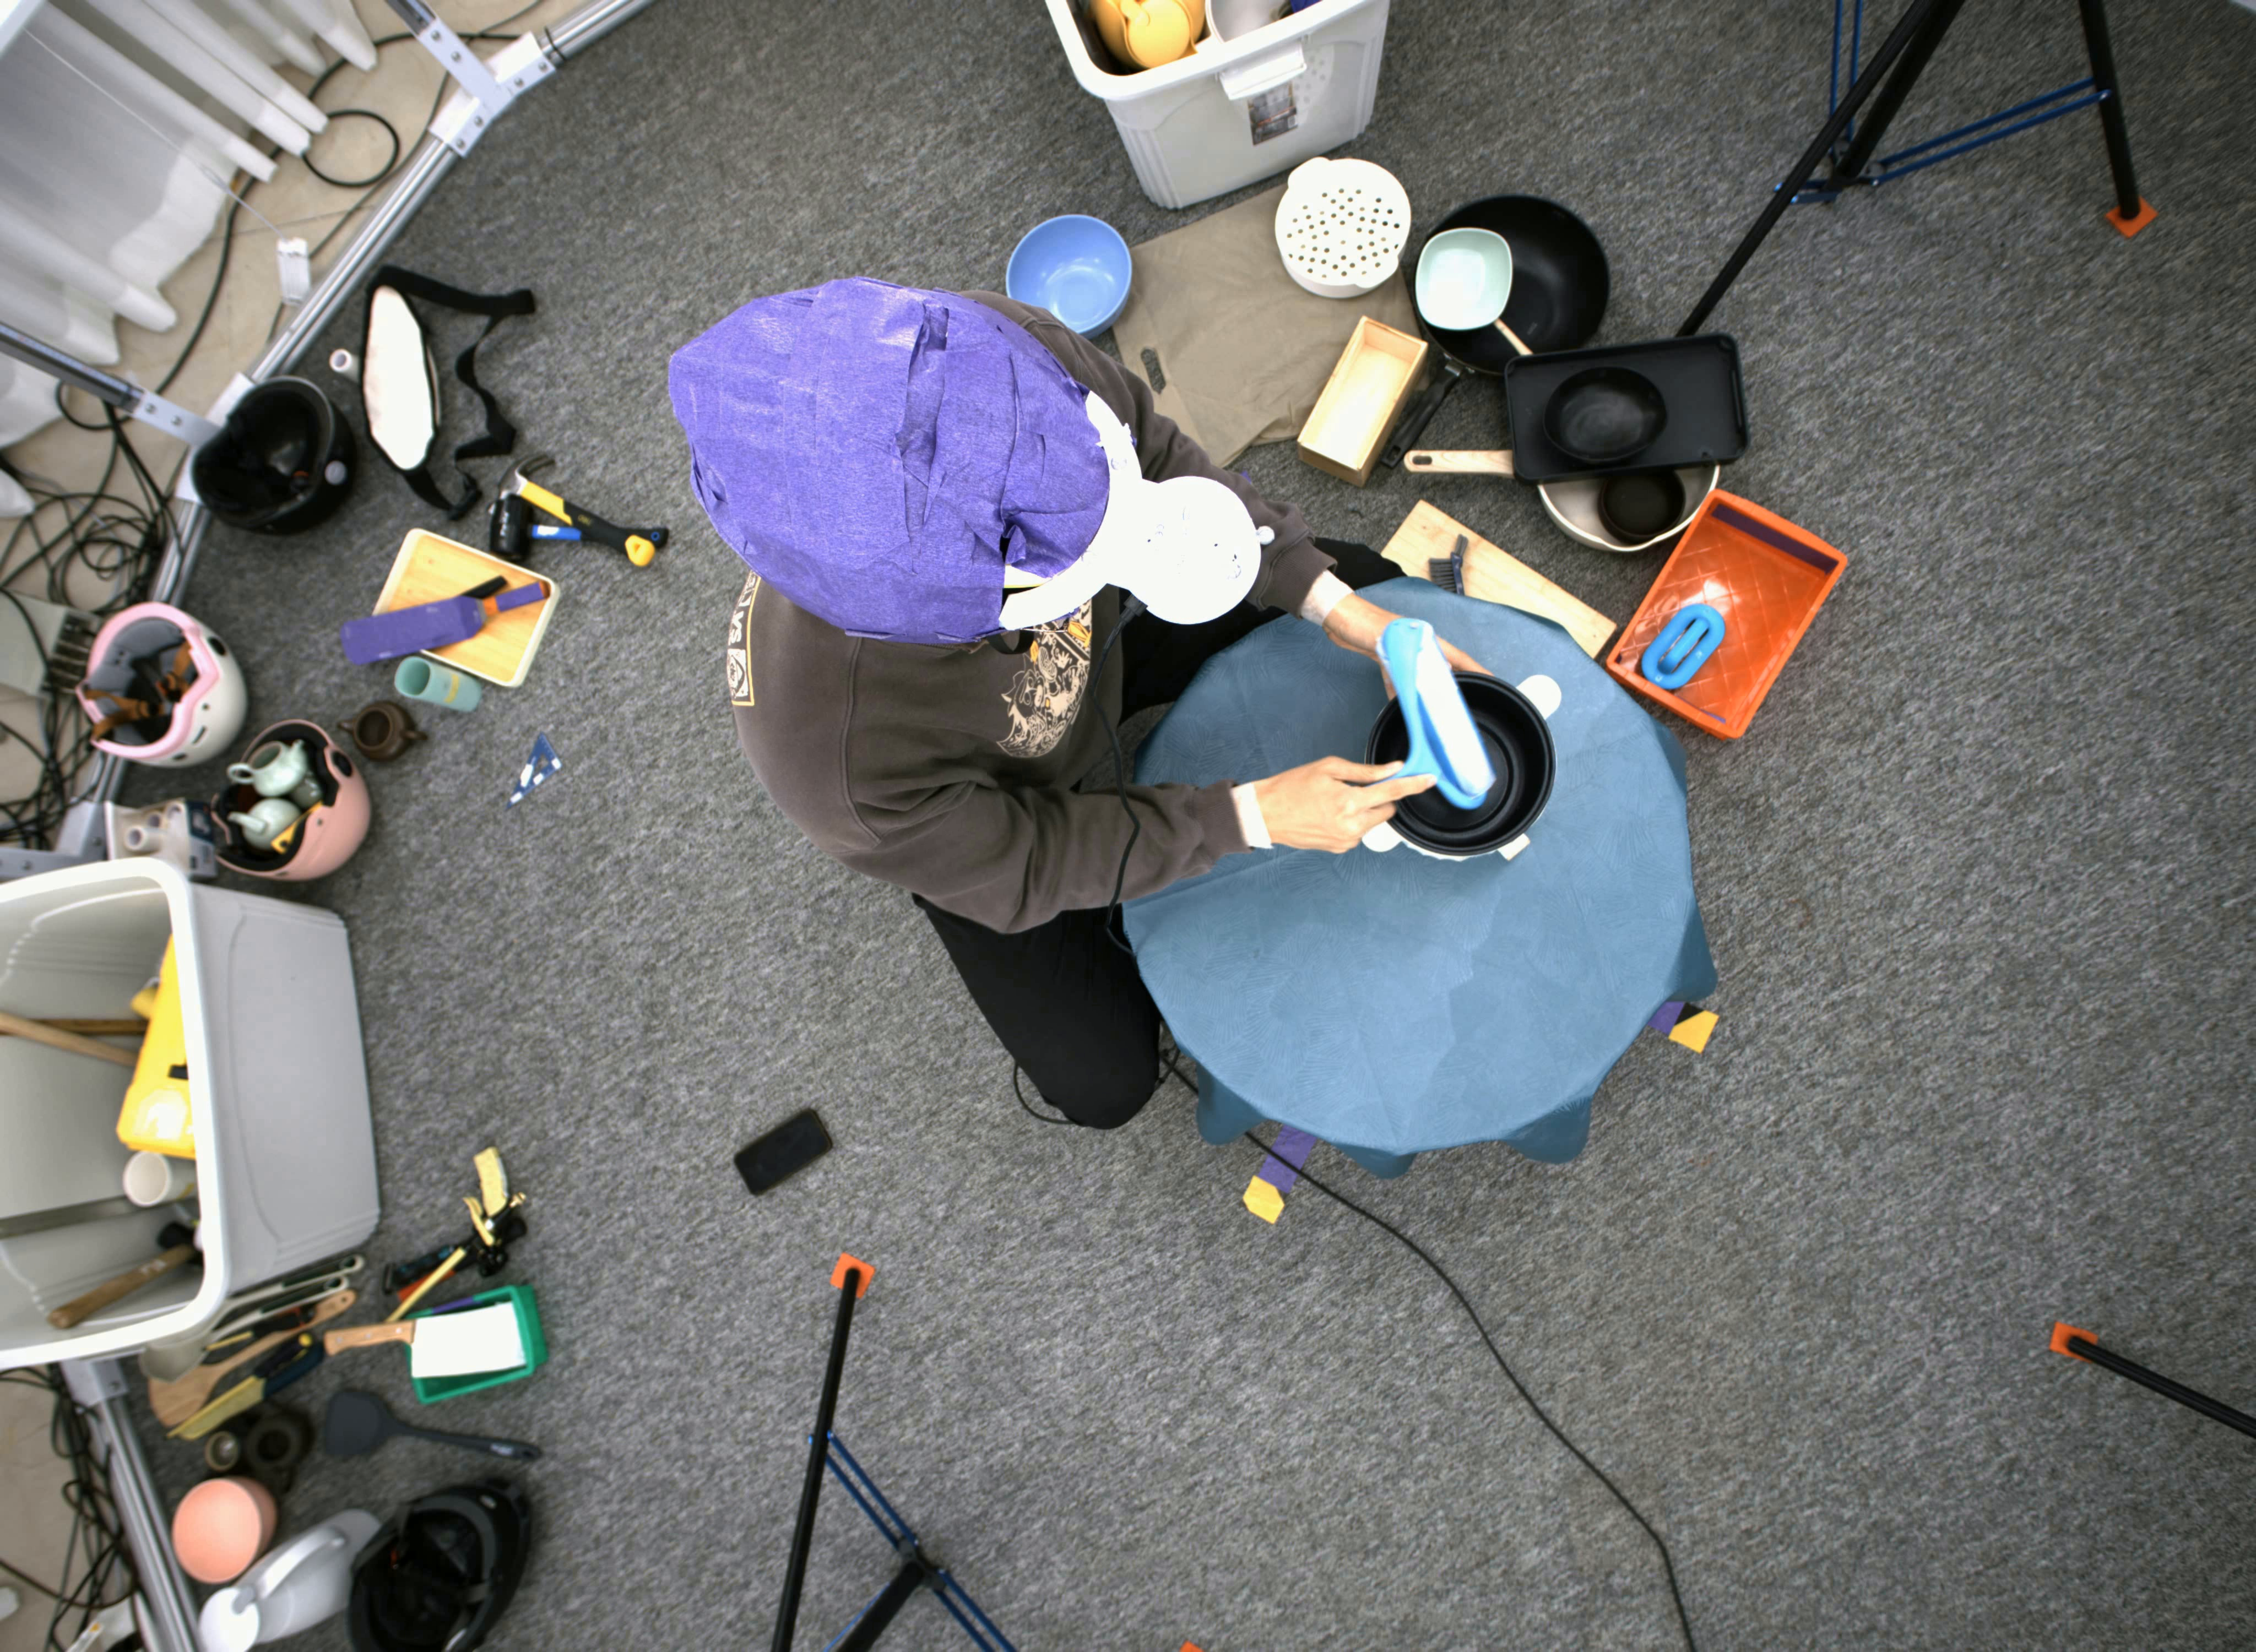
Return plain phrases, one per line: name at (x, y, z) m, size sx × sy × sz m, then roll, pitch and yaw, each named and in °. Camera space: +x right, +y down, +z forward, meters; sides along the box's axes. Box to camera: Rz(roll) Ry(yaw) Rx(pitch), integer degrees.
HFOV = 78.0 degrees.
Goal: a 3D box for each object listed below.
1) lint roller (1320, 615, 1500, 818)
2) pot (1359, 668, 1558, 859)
lint roller at (0.260, -0.068, 1.288) m, size 0.179 × 0.232 × 0.067 m, roll -49°, pitch 42°, yaw -9°
pot at (0.334, -0.054, 1.381) m, size 0.242 × 0.143 × 0.189 m, roll -42°, pitch 77°, yaw 7°
